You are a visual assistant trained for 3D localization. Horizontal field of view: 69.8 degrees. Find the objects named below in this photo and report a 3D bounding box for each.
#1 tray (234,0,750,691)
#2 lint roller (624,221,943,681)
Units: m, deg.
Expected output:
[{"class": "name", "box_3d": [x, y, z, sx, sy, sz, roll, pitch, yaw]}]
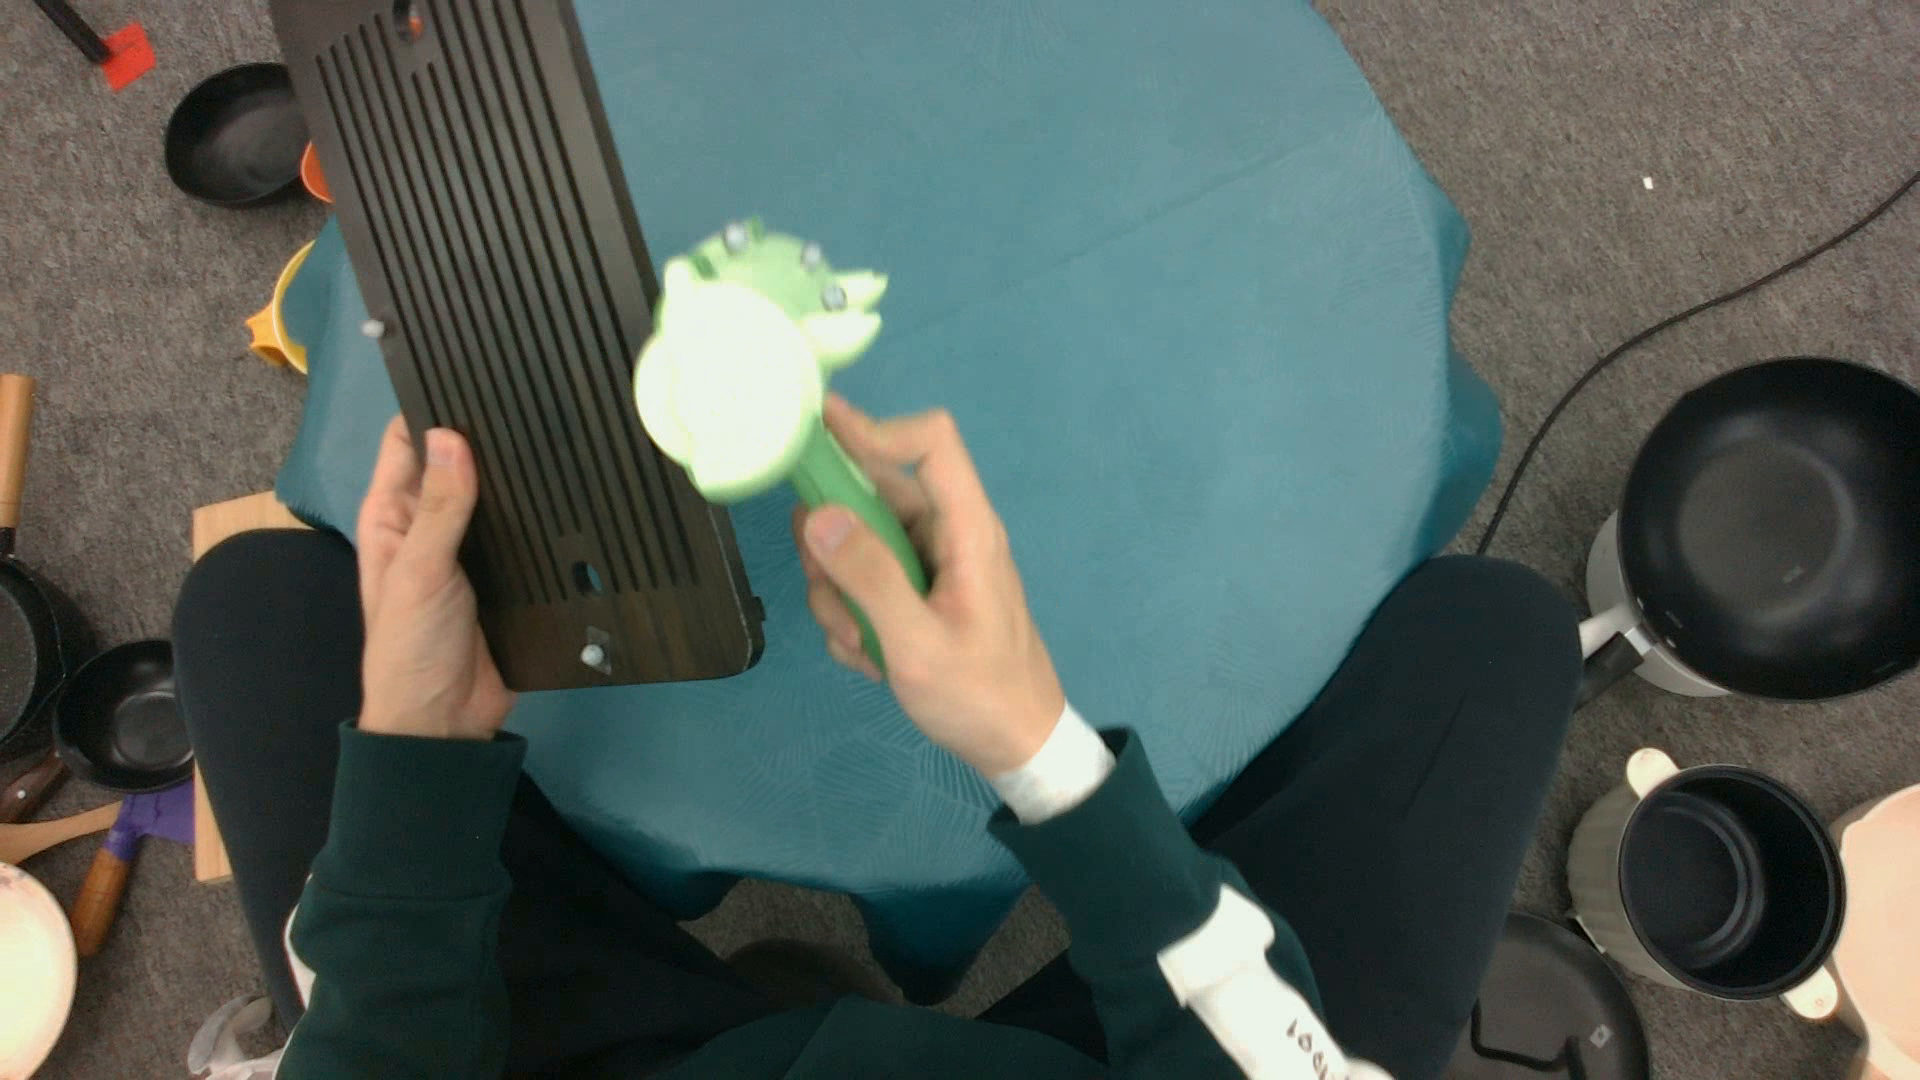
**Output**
[{"class": "tray", "box_3d": [-0.180, -0.089, 0.527, 0.169, 0.019, 0.305, -9, 102, 39]}, {"class": "lint roller", "box_3d": [-0.040, -0.035, 0.505, 0.082, 0.199, 0.183, -36, 105, 7]}]
